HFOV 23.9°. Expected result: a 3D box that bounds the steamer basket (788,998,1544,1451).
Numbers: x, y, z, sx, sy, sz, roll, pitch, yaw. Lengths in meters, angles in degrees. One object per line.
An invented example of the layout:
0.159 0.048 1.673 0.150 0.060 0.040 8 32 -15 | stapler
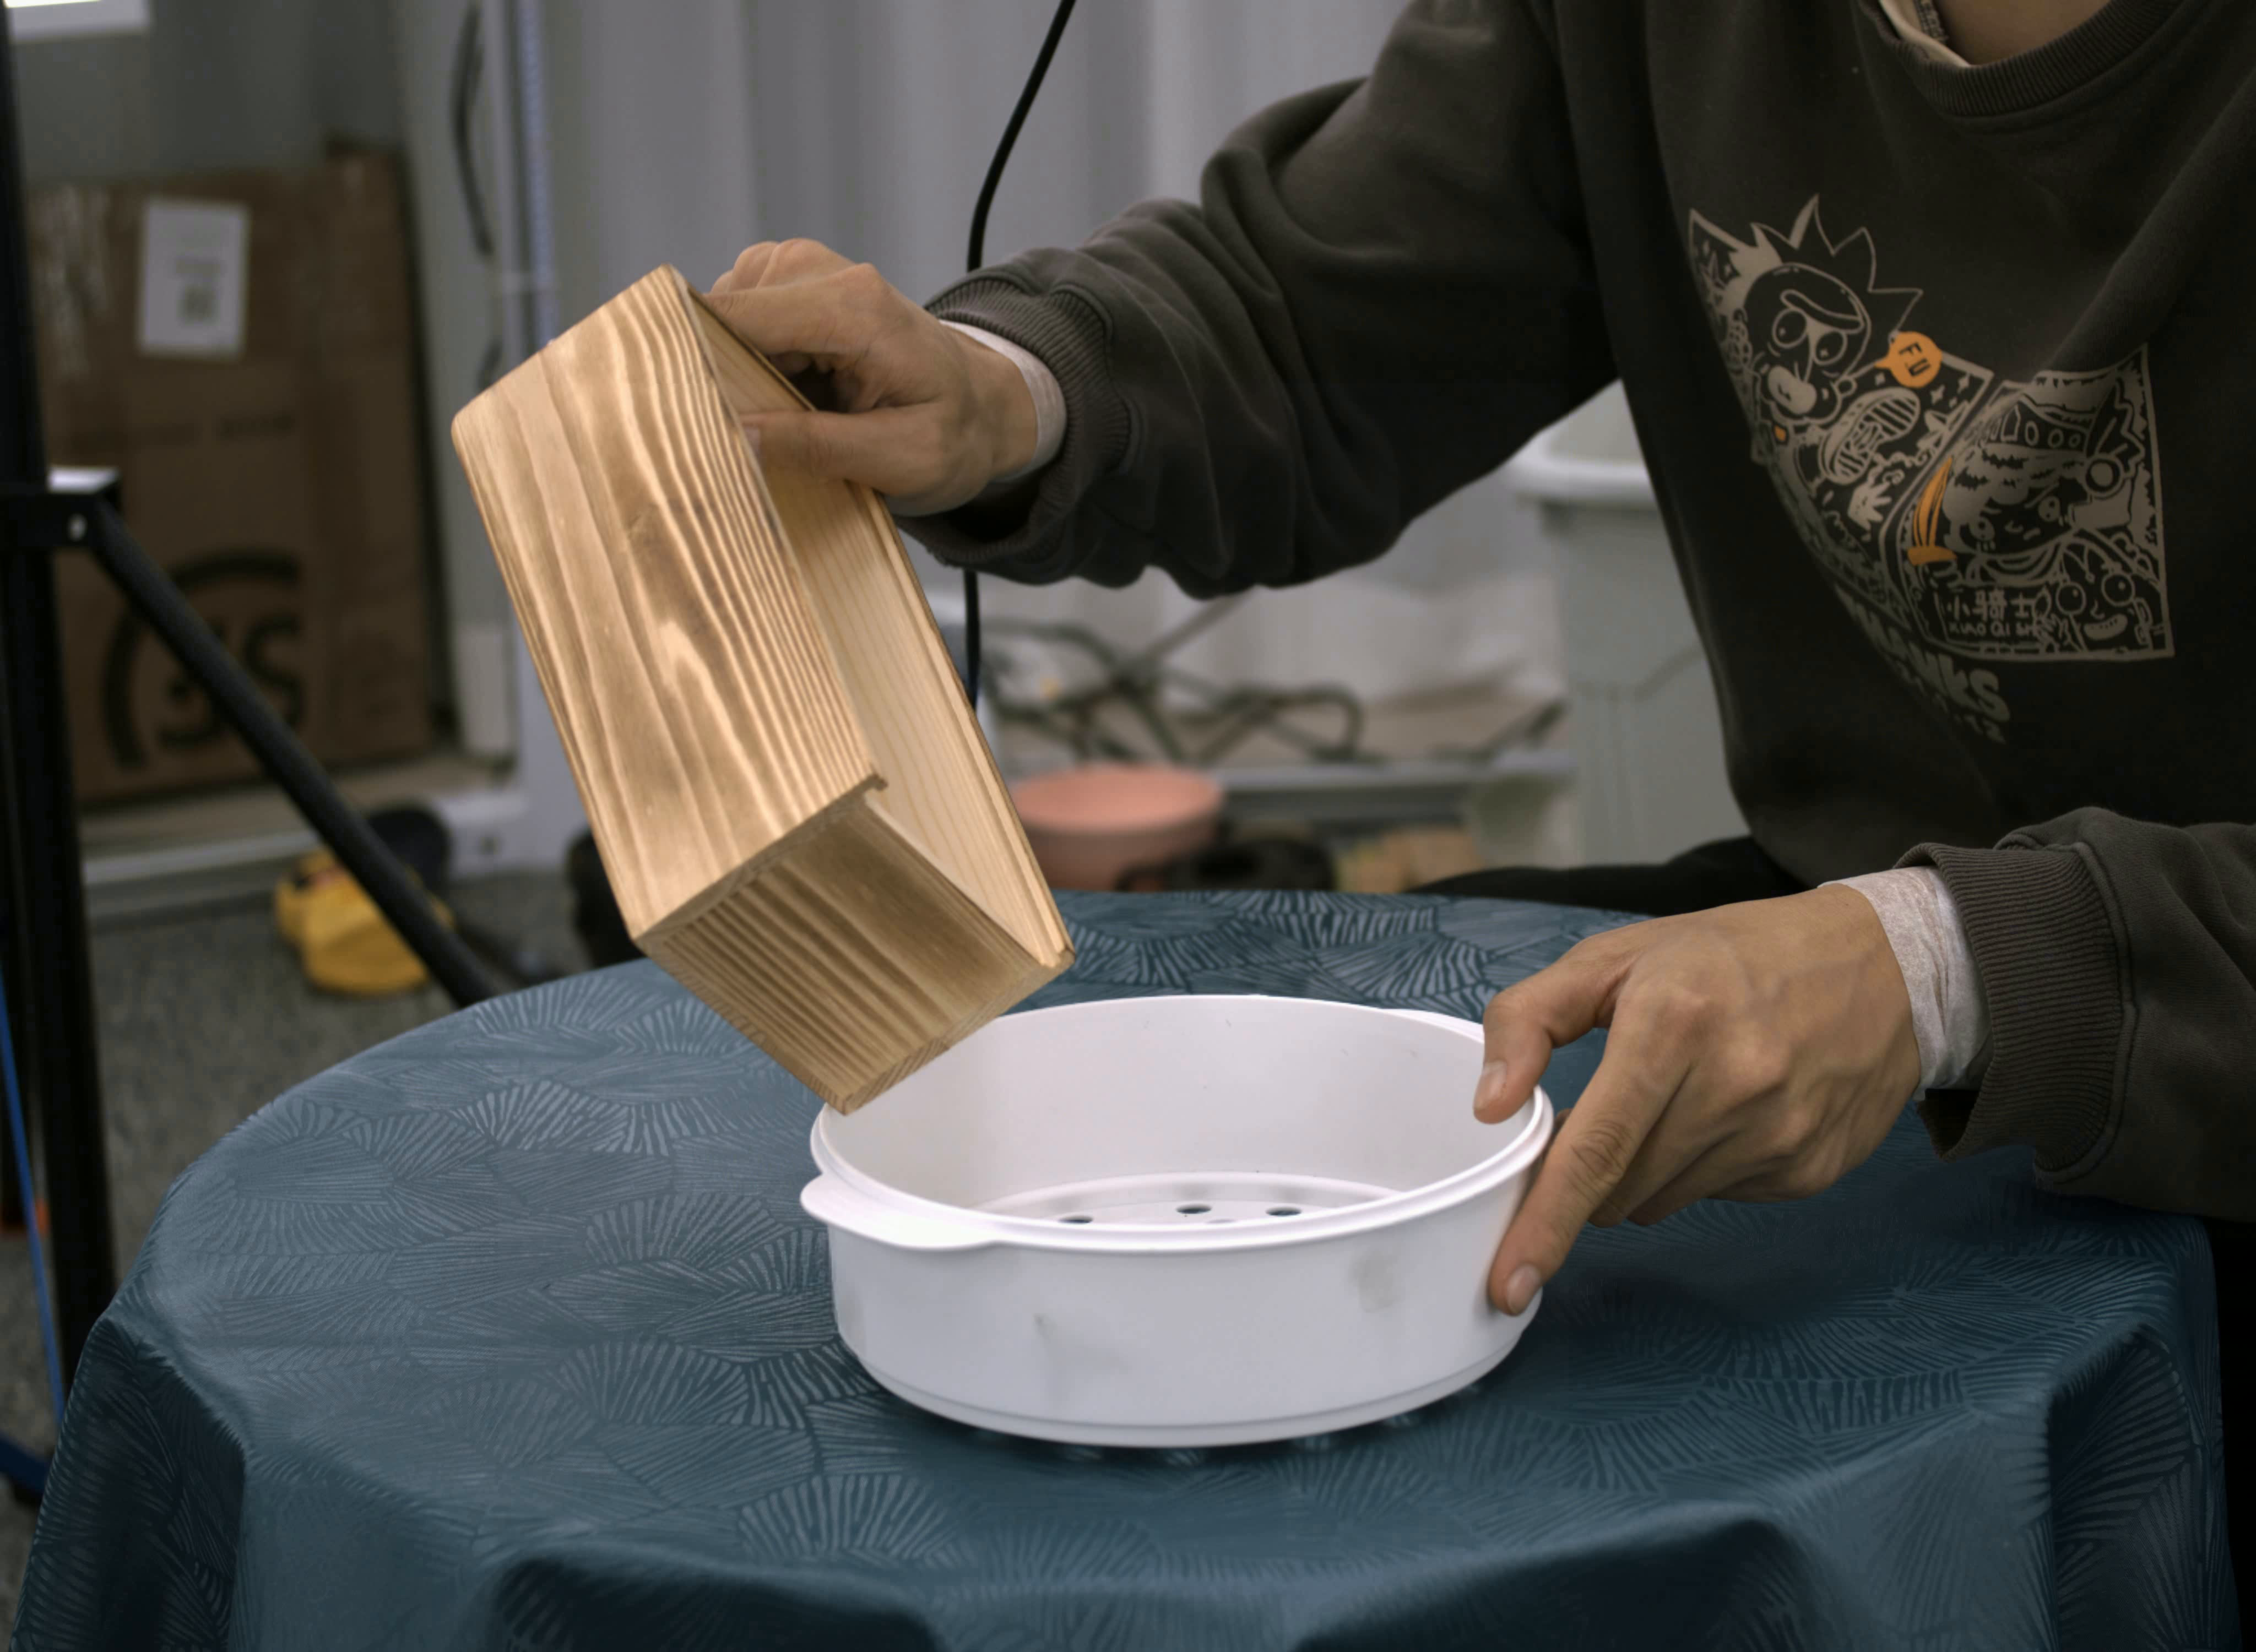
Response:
0.012 0.107 1.437 0.225 0.069 0.206 -13 19 -37 | steamer basket

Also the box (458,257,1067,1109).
-0.103 -0.041 1.472 0.080 0.105 0.215 -34 47 11 | box
